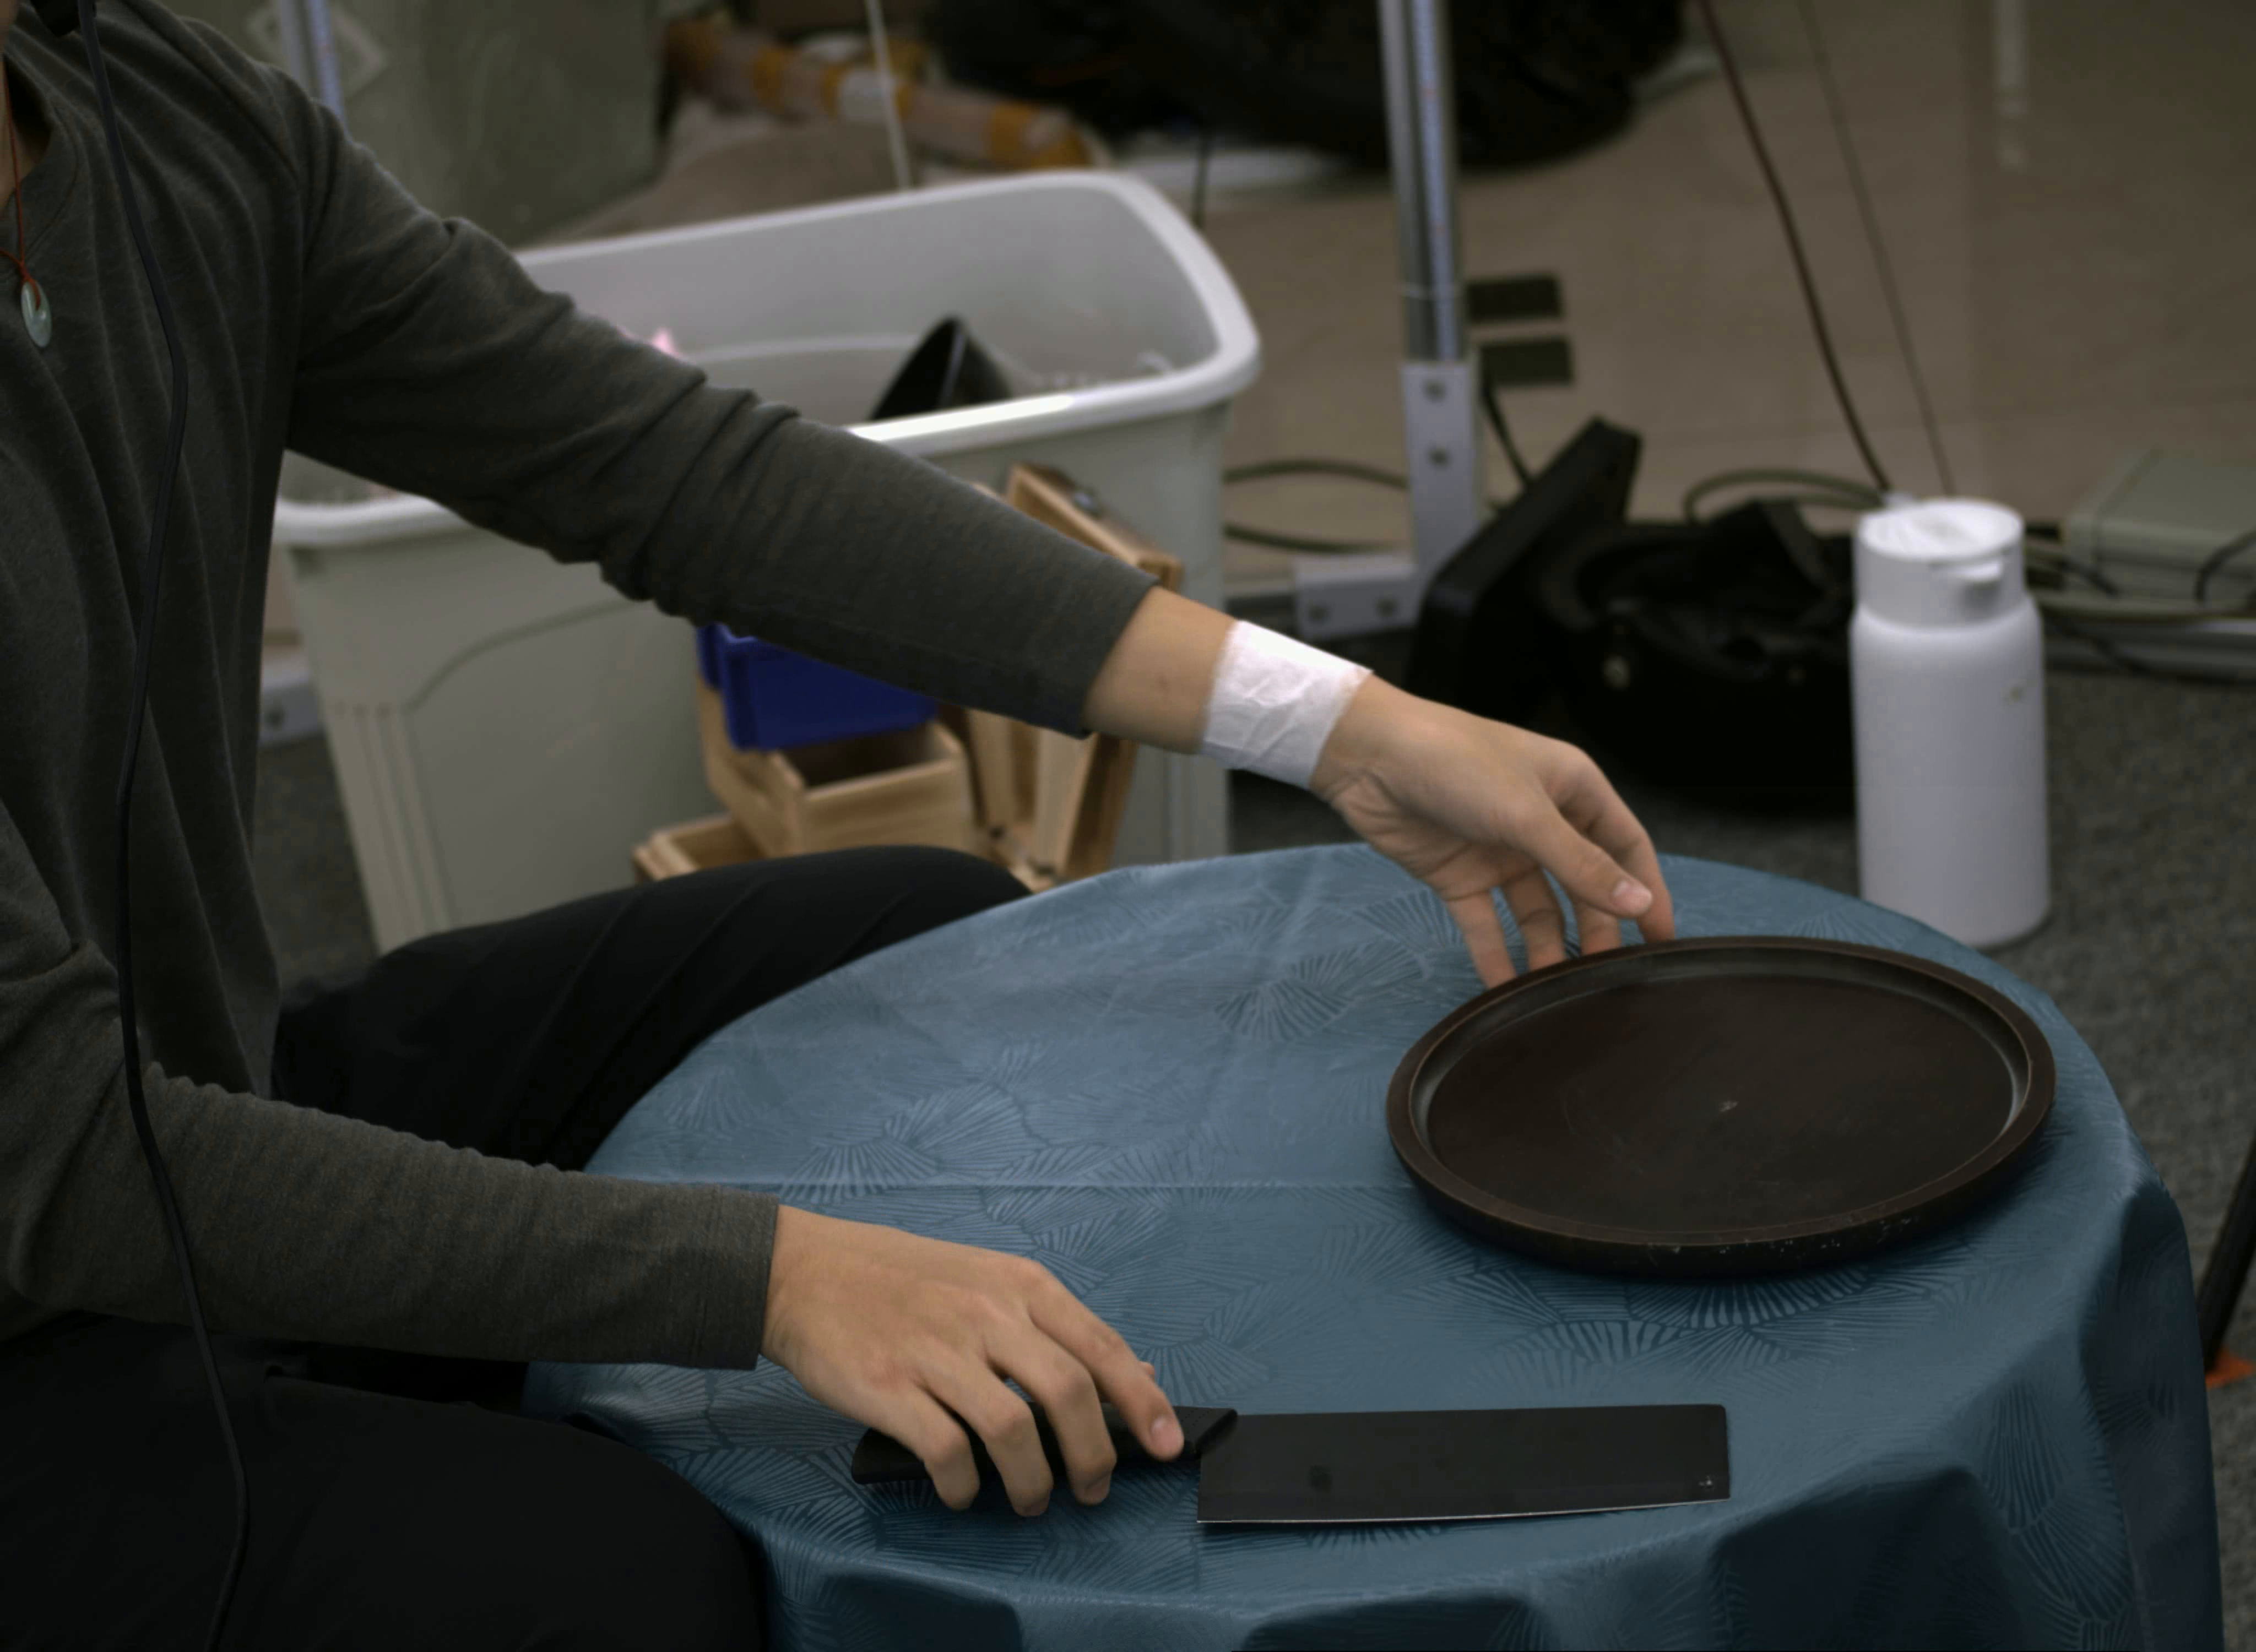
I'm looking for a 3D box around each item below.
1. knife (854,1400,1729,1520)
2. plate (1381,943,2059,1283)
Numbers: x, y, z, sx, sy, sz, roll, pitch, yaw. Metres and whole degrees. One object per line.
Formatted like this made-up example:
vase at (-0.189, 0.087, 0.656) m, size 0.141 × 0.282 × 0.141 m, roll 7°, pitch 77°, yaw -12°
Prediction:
knife at (0.056, 0.217, 1.953) m, size 0.302 × 0.021 × 0.080 m, roll 0°, pitch 26°, yaw 9°
plate at (0.222, 0.106, 2.140) m, size 0.254 × 0.029 × 0.251 m, roll -5°, pitch 26°, yaw 3°
